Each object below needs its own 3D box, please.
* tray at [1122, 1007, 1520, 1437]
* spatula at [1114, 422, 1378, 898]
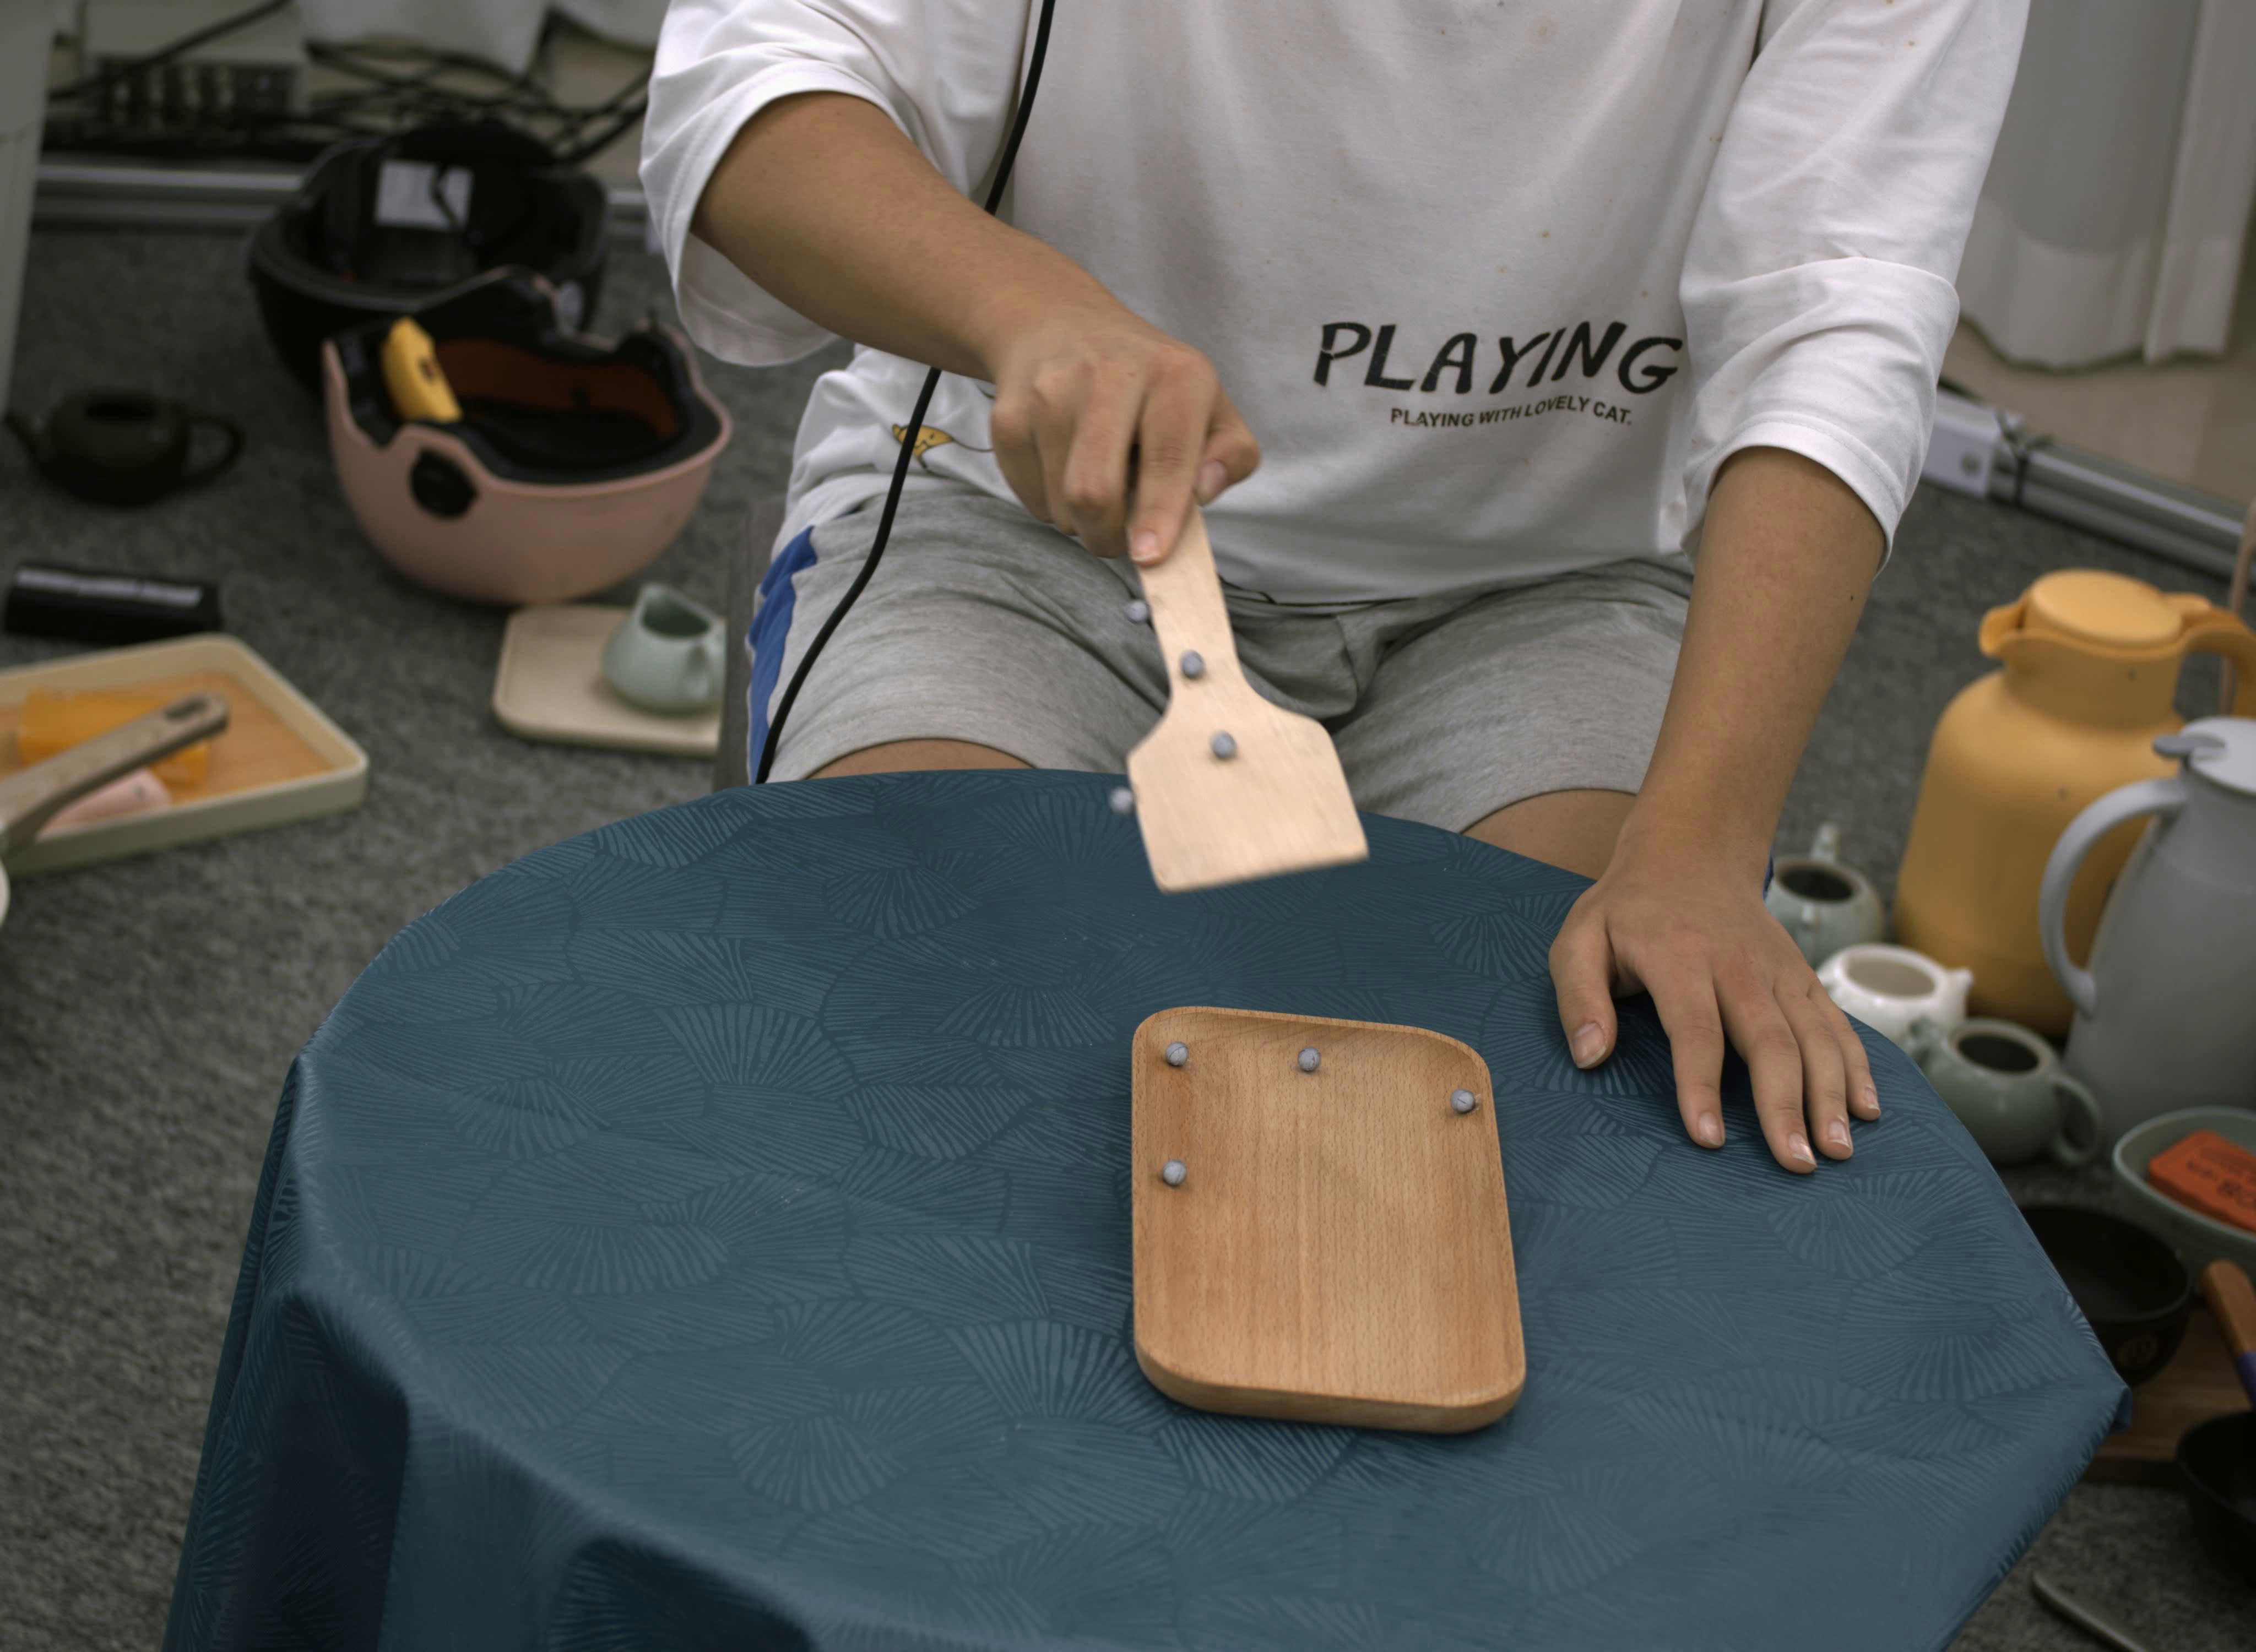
[{"bbox_3d":[0.063,0.130,1.790,0.130,0.023,0.252,4,27,0],"label":"tray"},{"bbox_3d":[0.026,-0.062,1.842,0.072,0.010,0.295,-9,36,-3],"label":"spatula"}]
